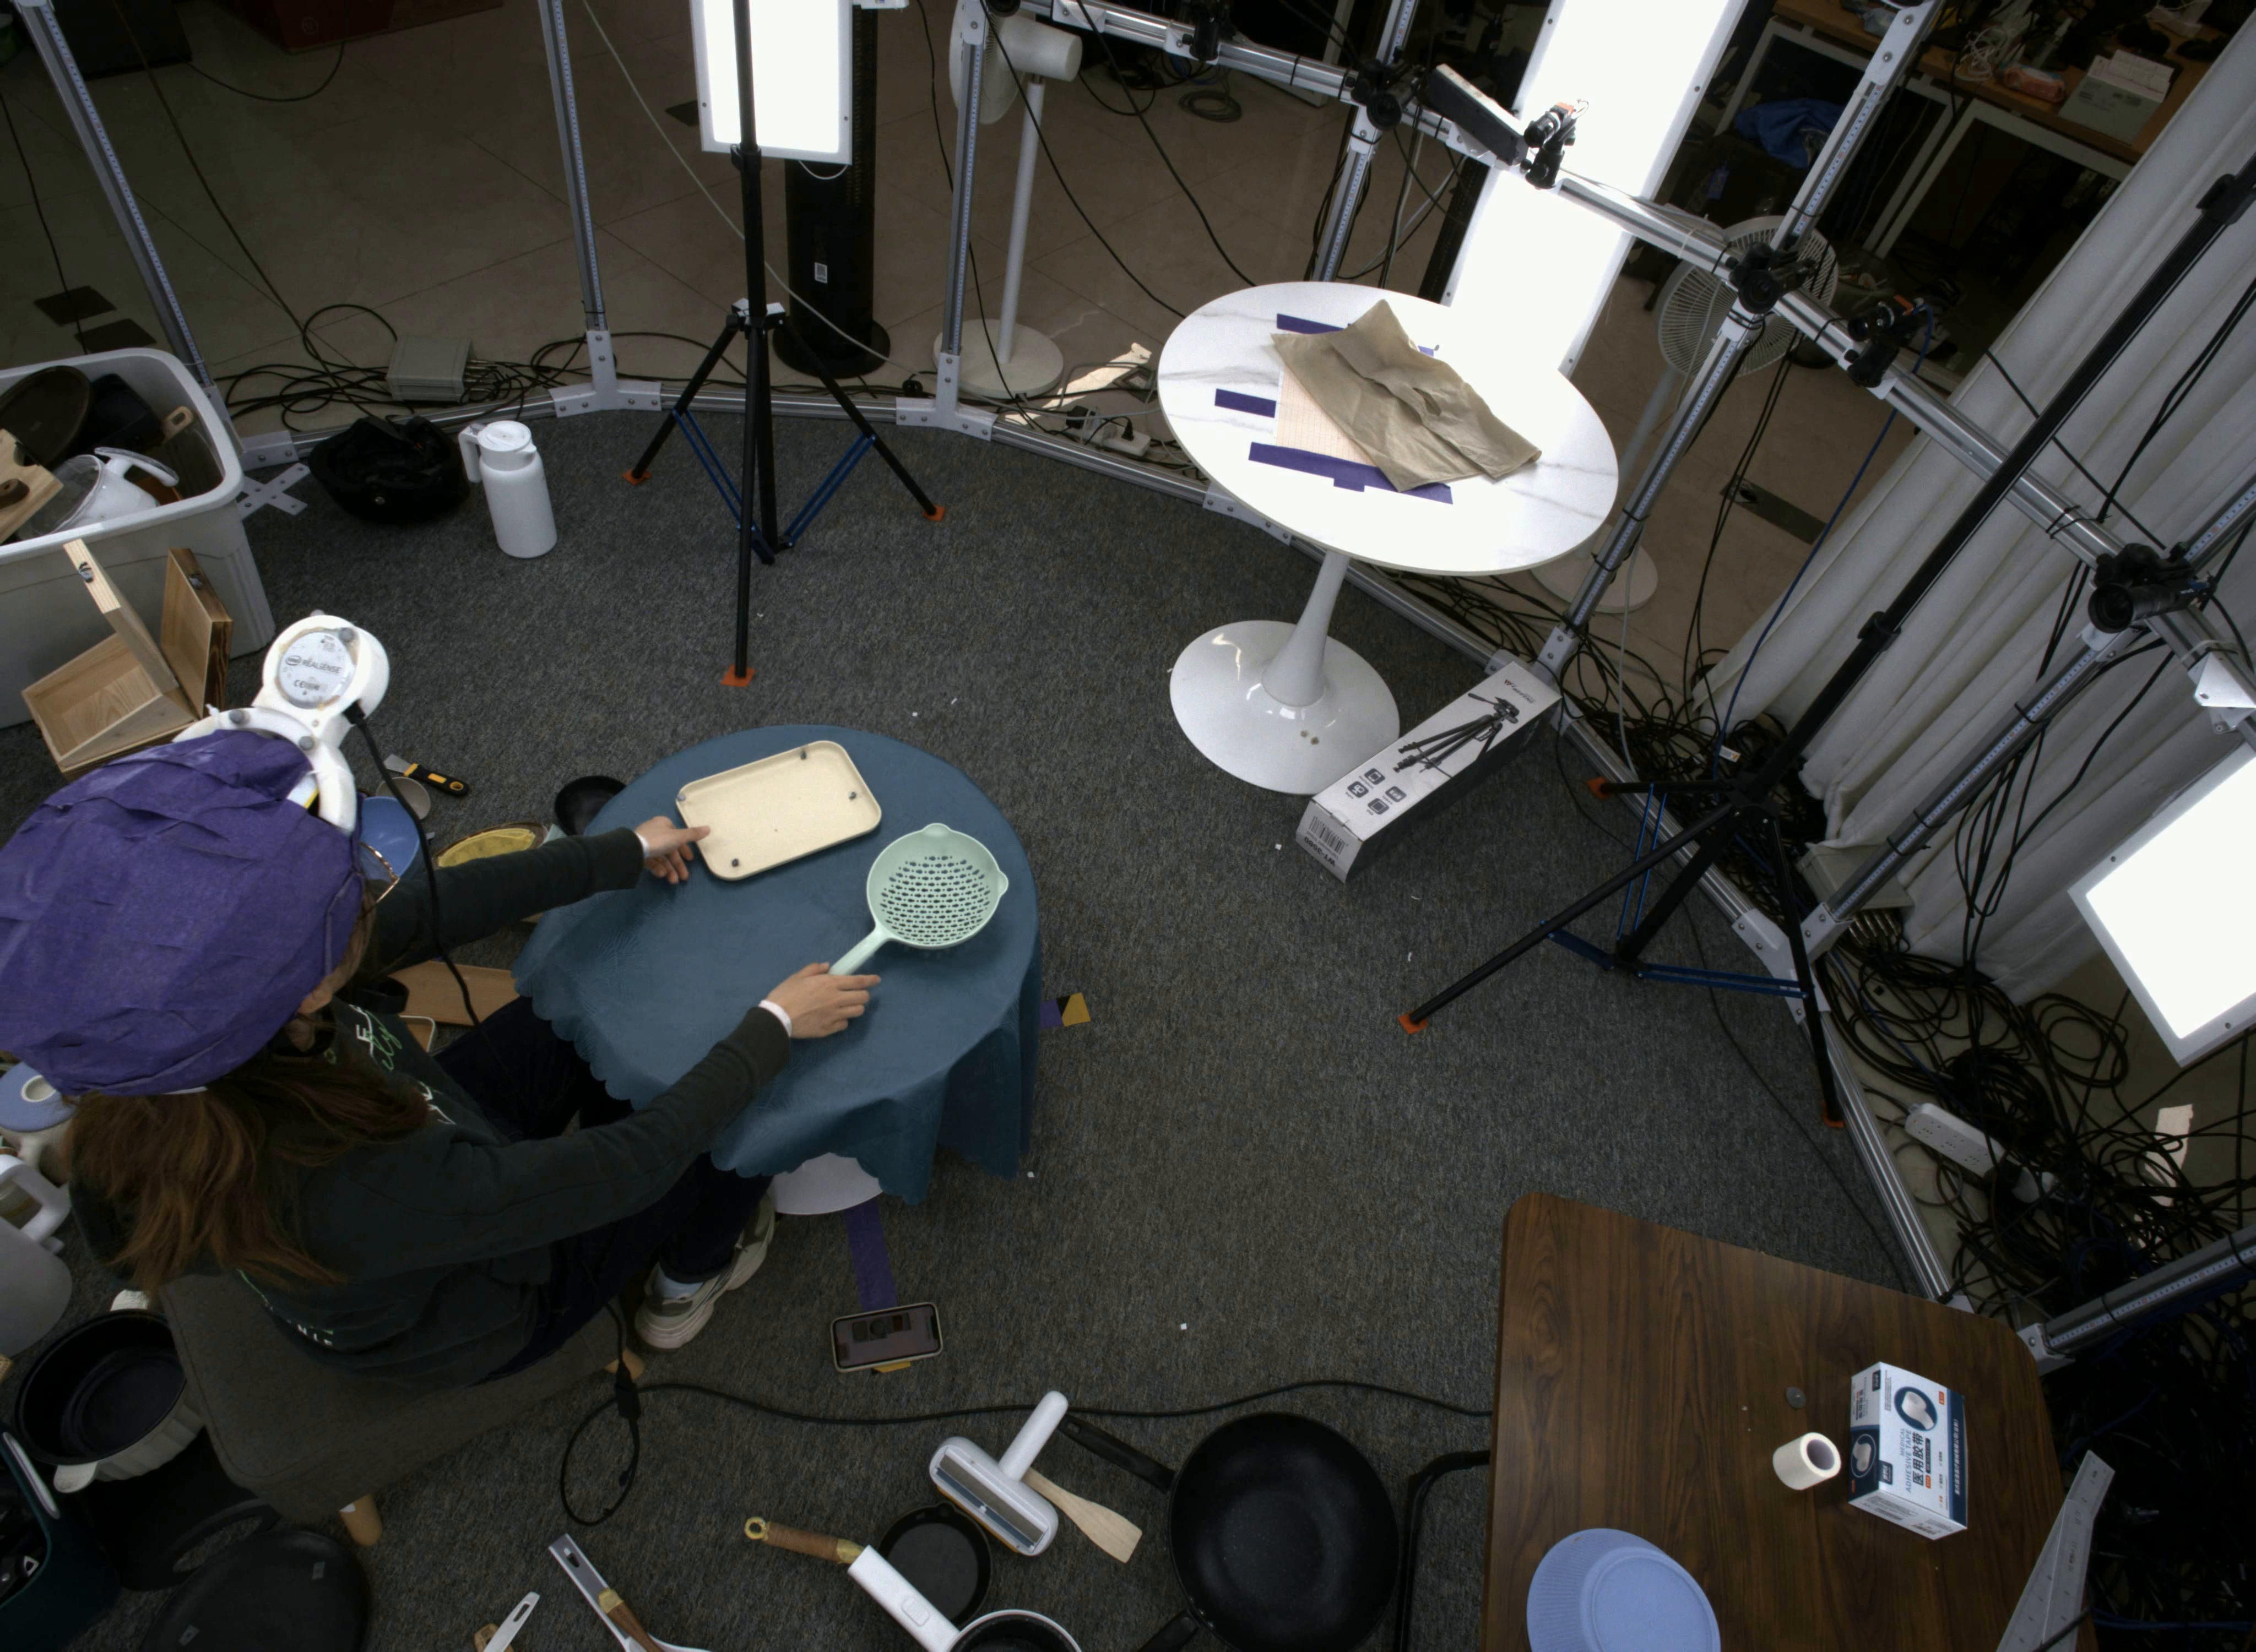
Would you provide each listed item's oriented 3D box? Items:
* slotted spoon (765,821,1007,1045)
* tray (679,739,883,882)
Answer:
[{"bbox_3d":[-0.310,0.139,1.614,0.165,0.077,0.359,39,55,17],"label":"slotted spoon"},{"bbox_3d":[-0.461,-0.022,1.726,0.241,0.018,0.167,-23,62,-27],"label":"tray"}]
